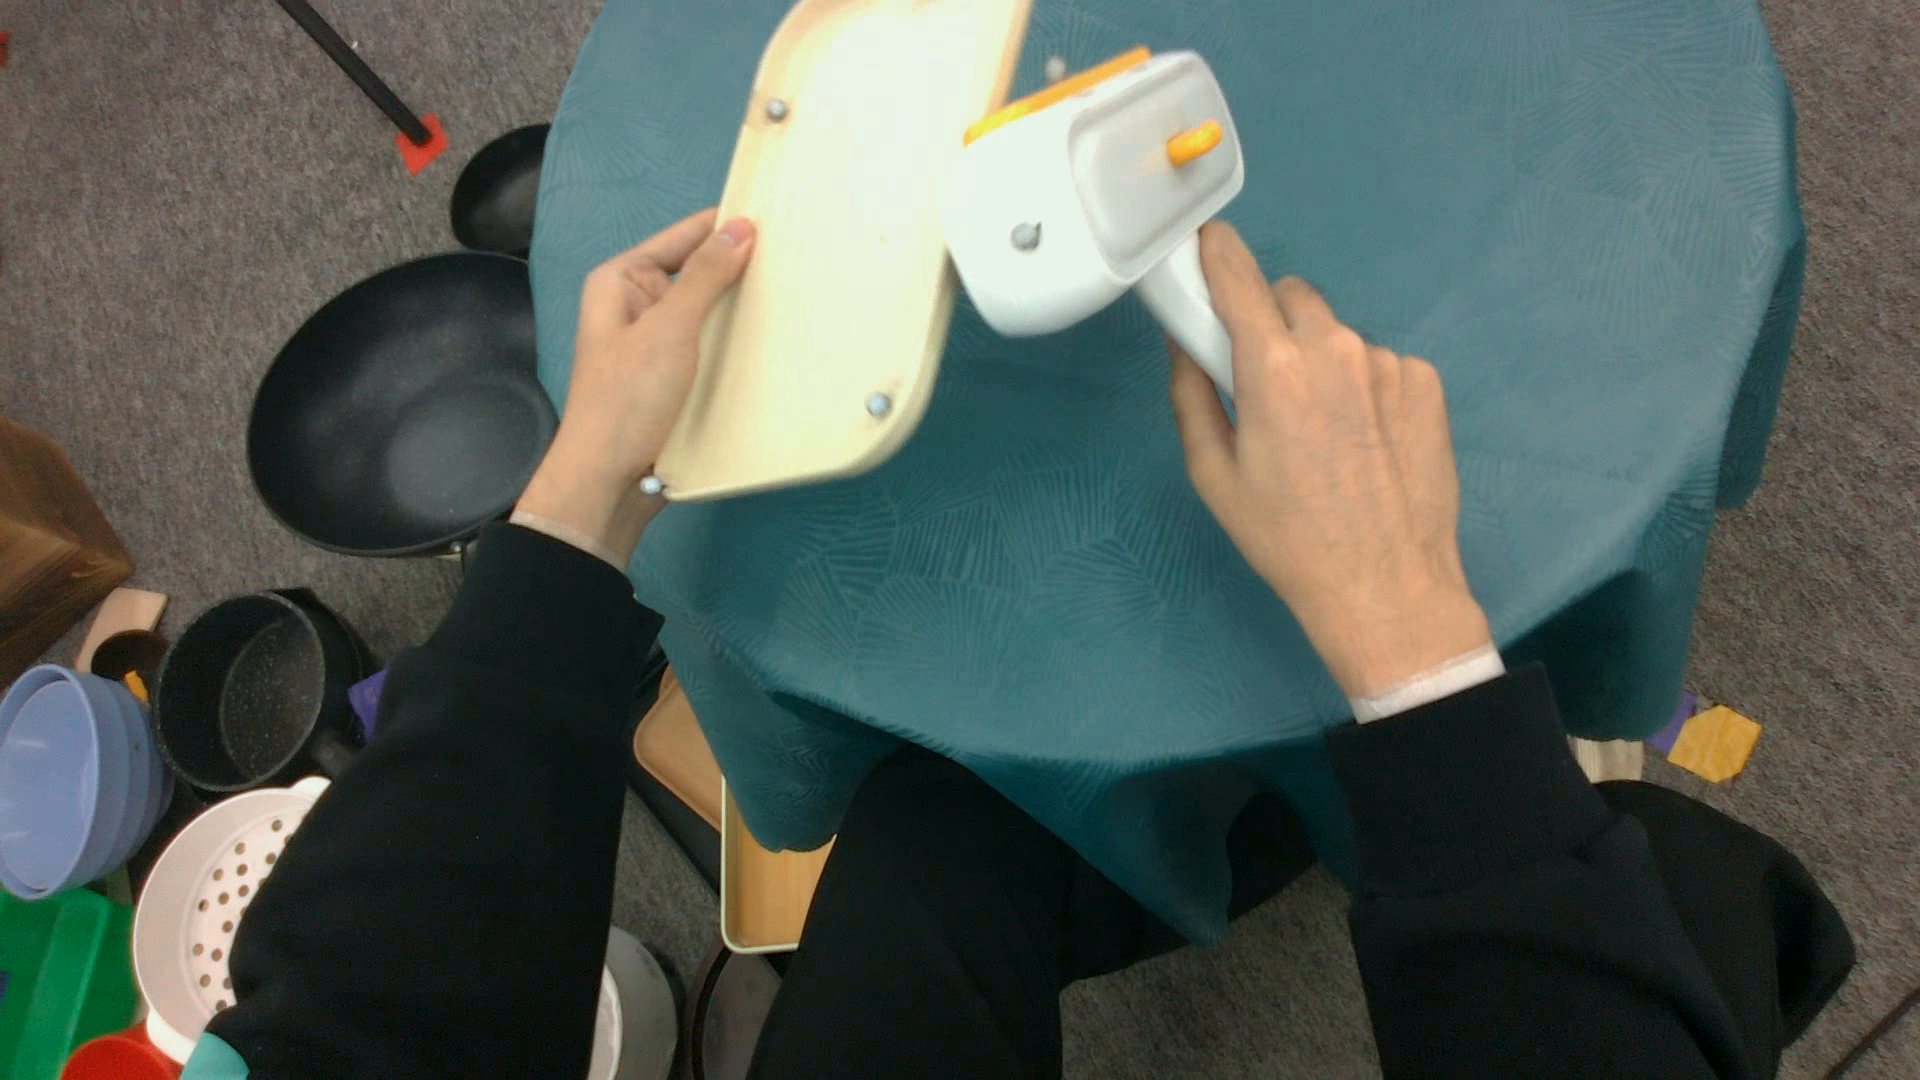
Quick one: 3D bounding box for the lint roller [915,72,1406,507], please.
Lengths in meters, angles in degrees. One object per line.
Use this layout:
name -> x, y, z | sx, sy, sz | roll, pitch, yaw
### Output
lint roller -> 0.088, -0.083, 0.513 | 0.074, 0.194, 0.192 | -33, 98, 33

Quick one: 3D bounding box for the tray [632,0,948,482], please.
tray -> -0.065, -0.142, 0.538 | 0.170, 0.017, 0.240 | -10, 66, 50
